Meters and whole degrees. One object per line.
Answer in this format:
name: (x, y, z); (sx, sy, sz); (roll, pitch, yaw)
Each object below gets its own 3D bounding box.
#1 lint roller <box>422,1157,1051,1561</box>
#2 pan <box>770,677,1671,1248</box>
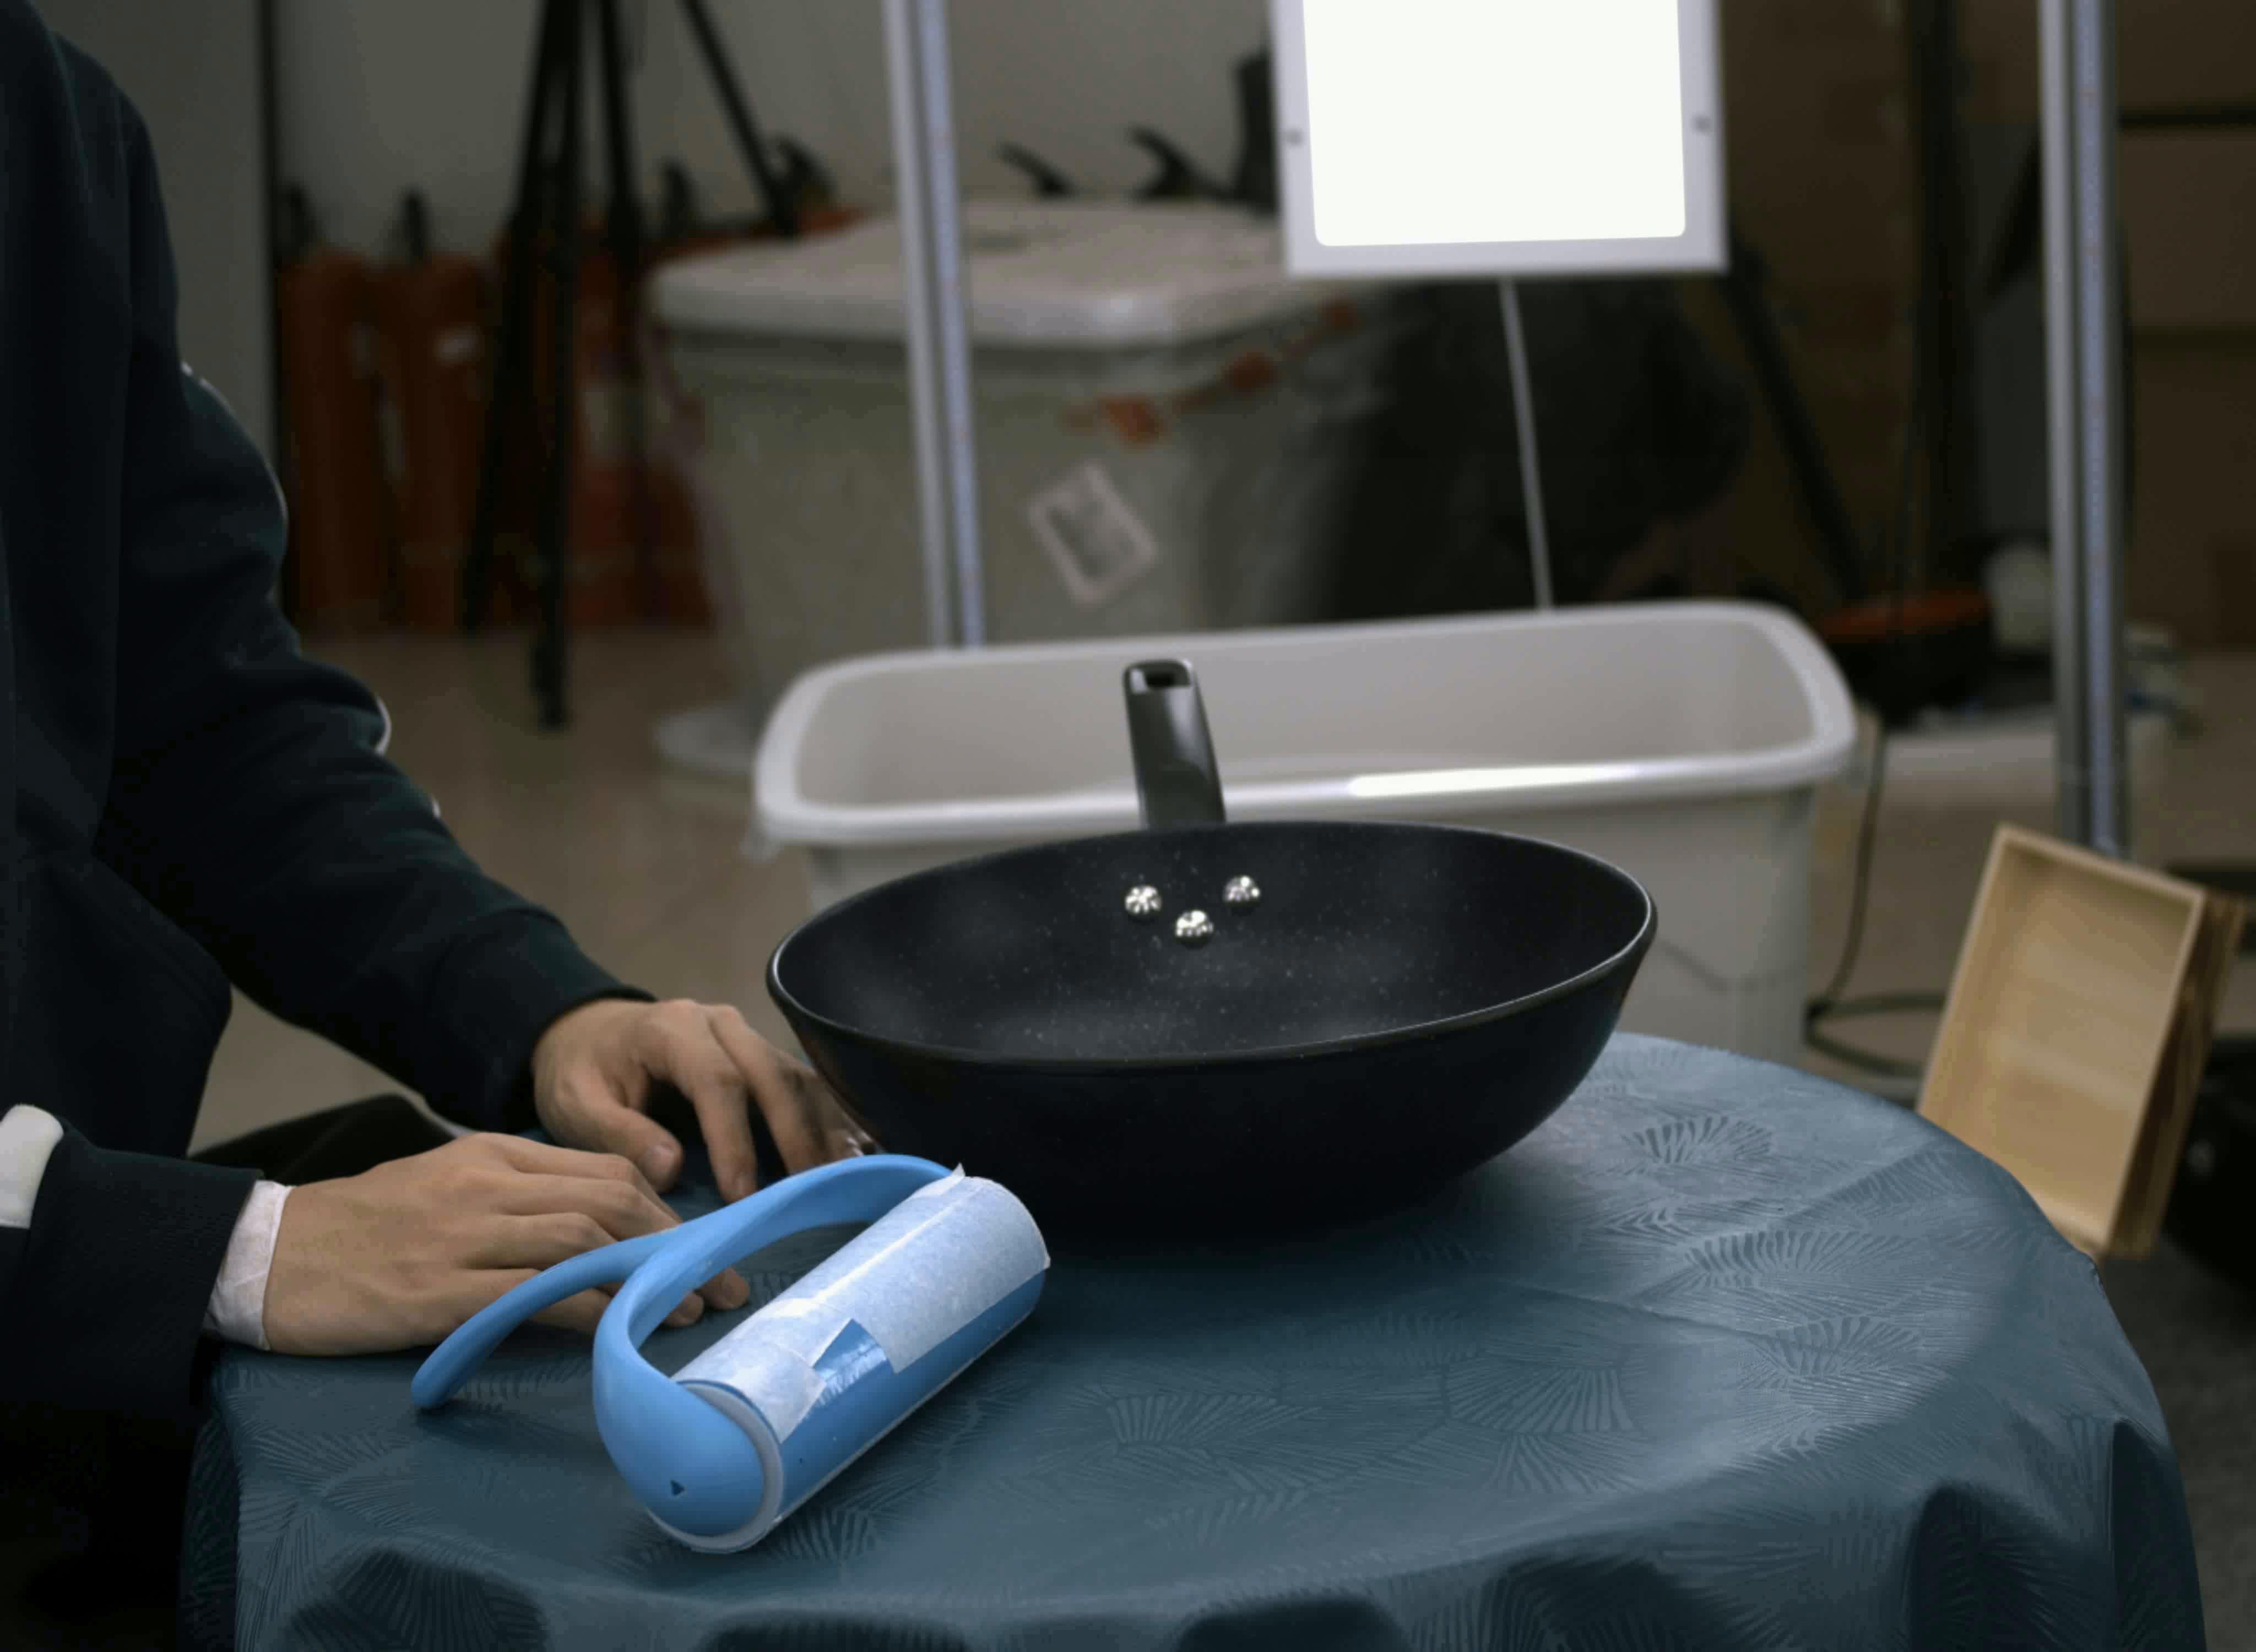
lint roller: (-0.139, 0.159, 1.695); (0.182, 0.068, 0.225); (1, 17, 20)
pan: (0.028, 0.049, 1.976); (0.309, 0.112, 0.476); (-4, 14, -2)
